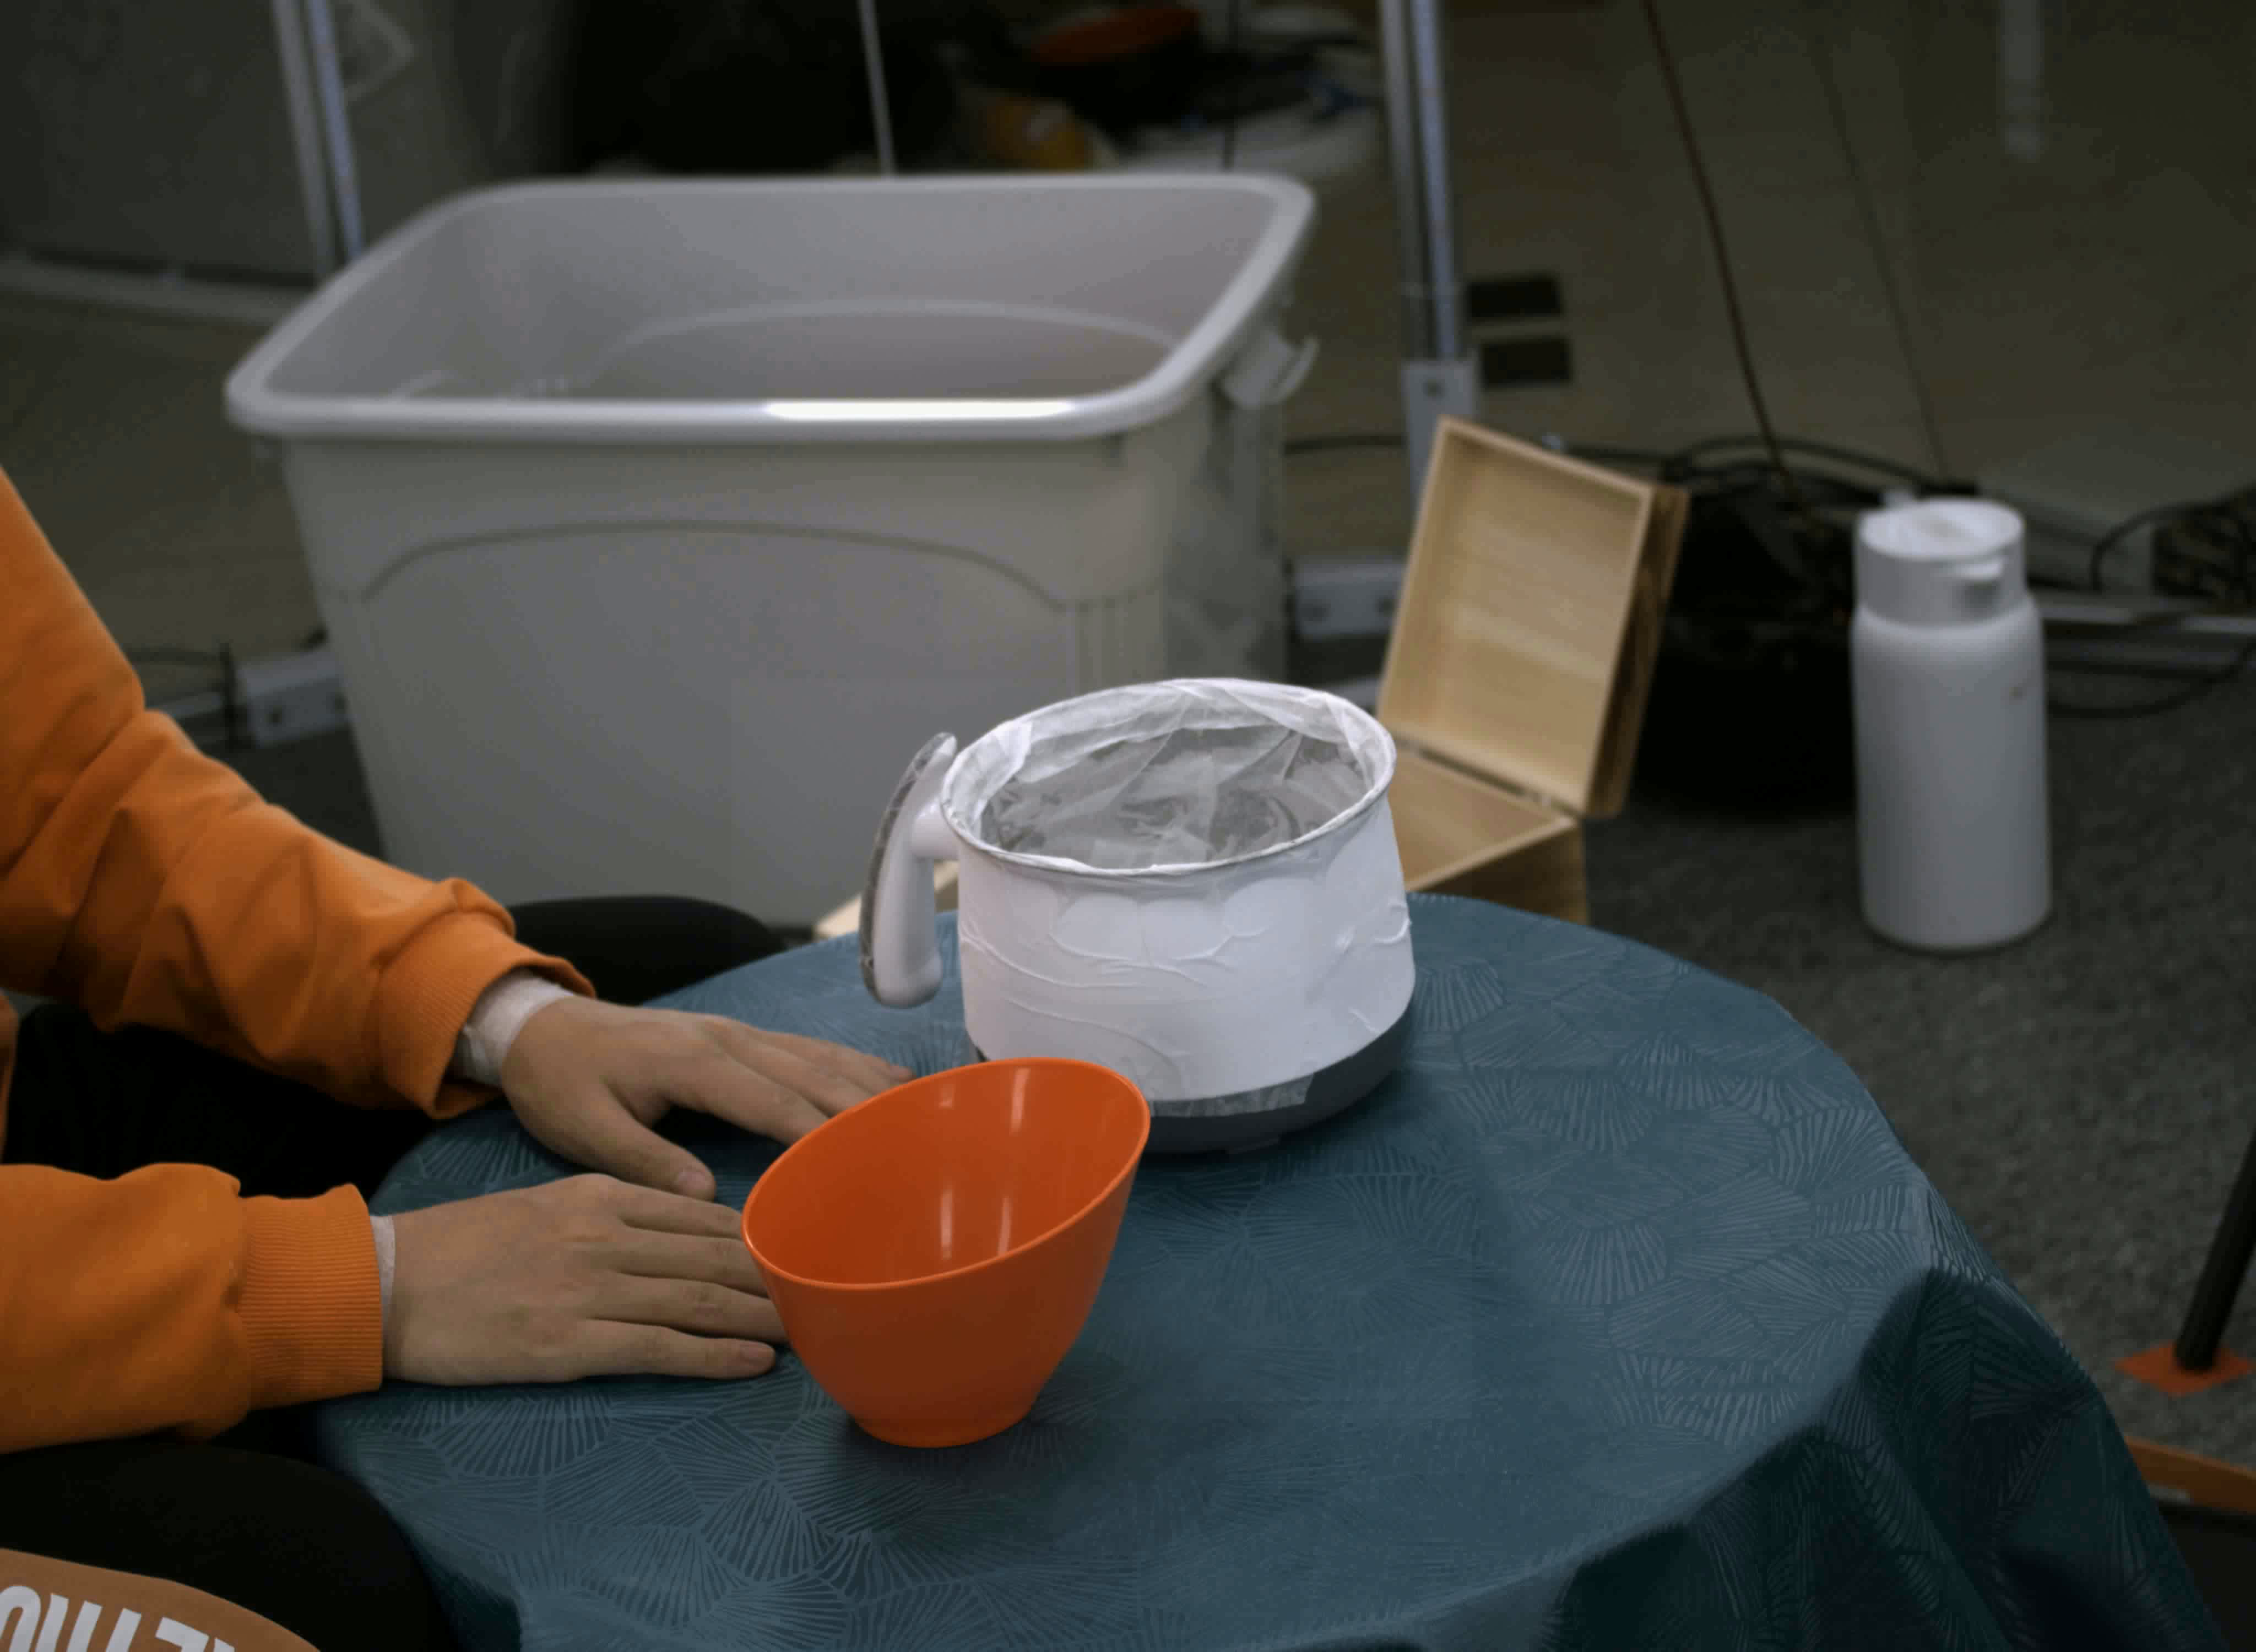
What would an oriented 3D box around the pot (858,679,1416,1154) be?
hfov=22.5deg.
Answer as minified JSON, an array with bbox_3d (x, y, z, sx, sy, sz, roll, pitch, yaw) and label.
[{"bbox_3d":[-0.003,0.034,2.208,0.233,0.139,0.176,7,28,25],"label":"pot"}]

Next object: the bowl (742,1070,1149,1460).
[{"bbox_3d":[-0.059,0.161,2.001,0.148,0.106,0.146,-7,25,3],"label":"bowl"}]
